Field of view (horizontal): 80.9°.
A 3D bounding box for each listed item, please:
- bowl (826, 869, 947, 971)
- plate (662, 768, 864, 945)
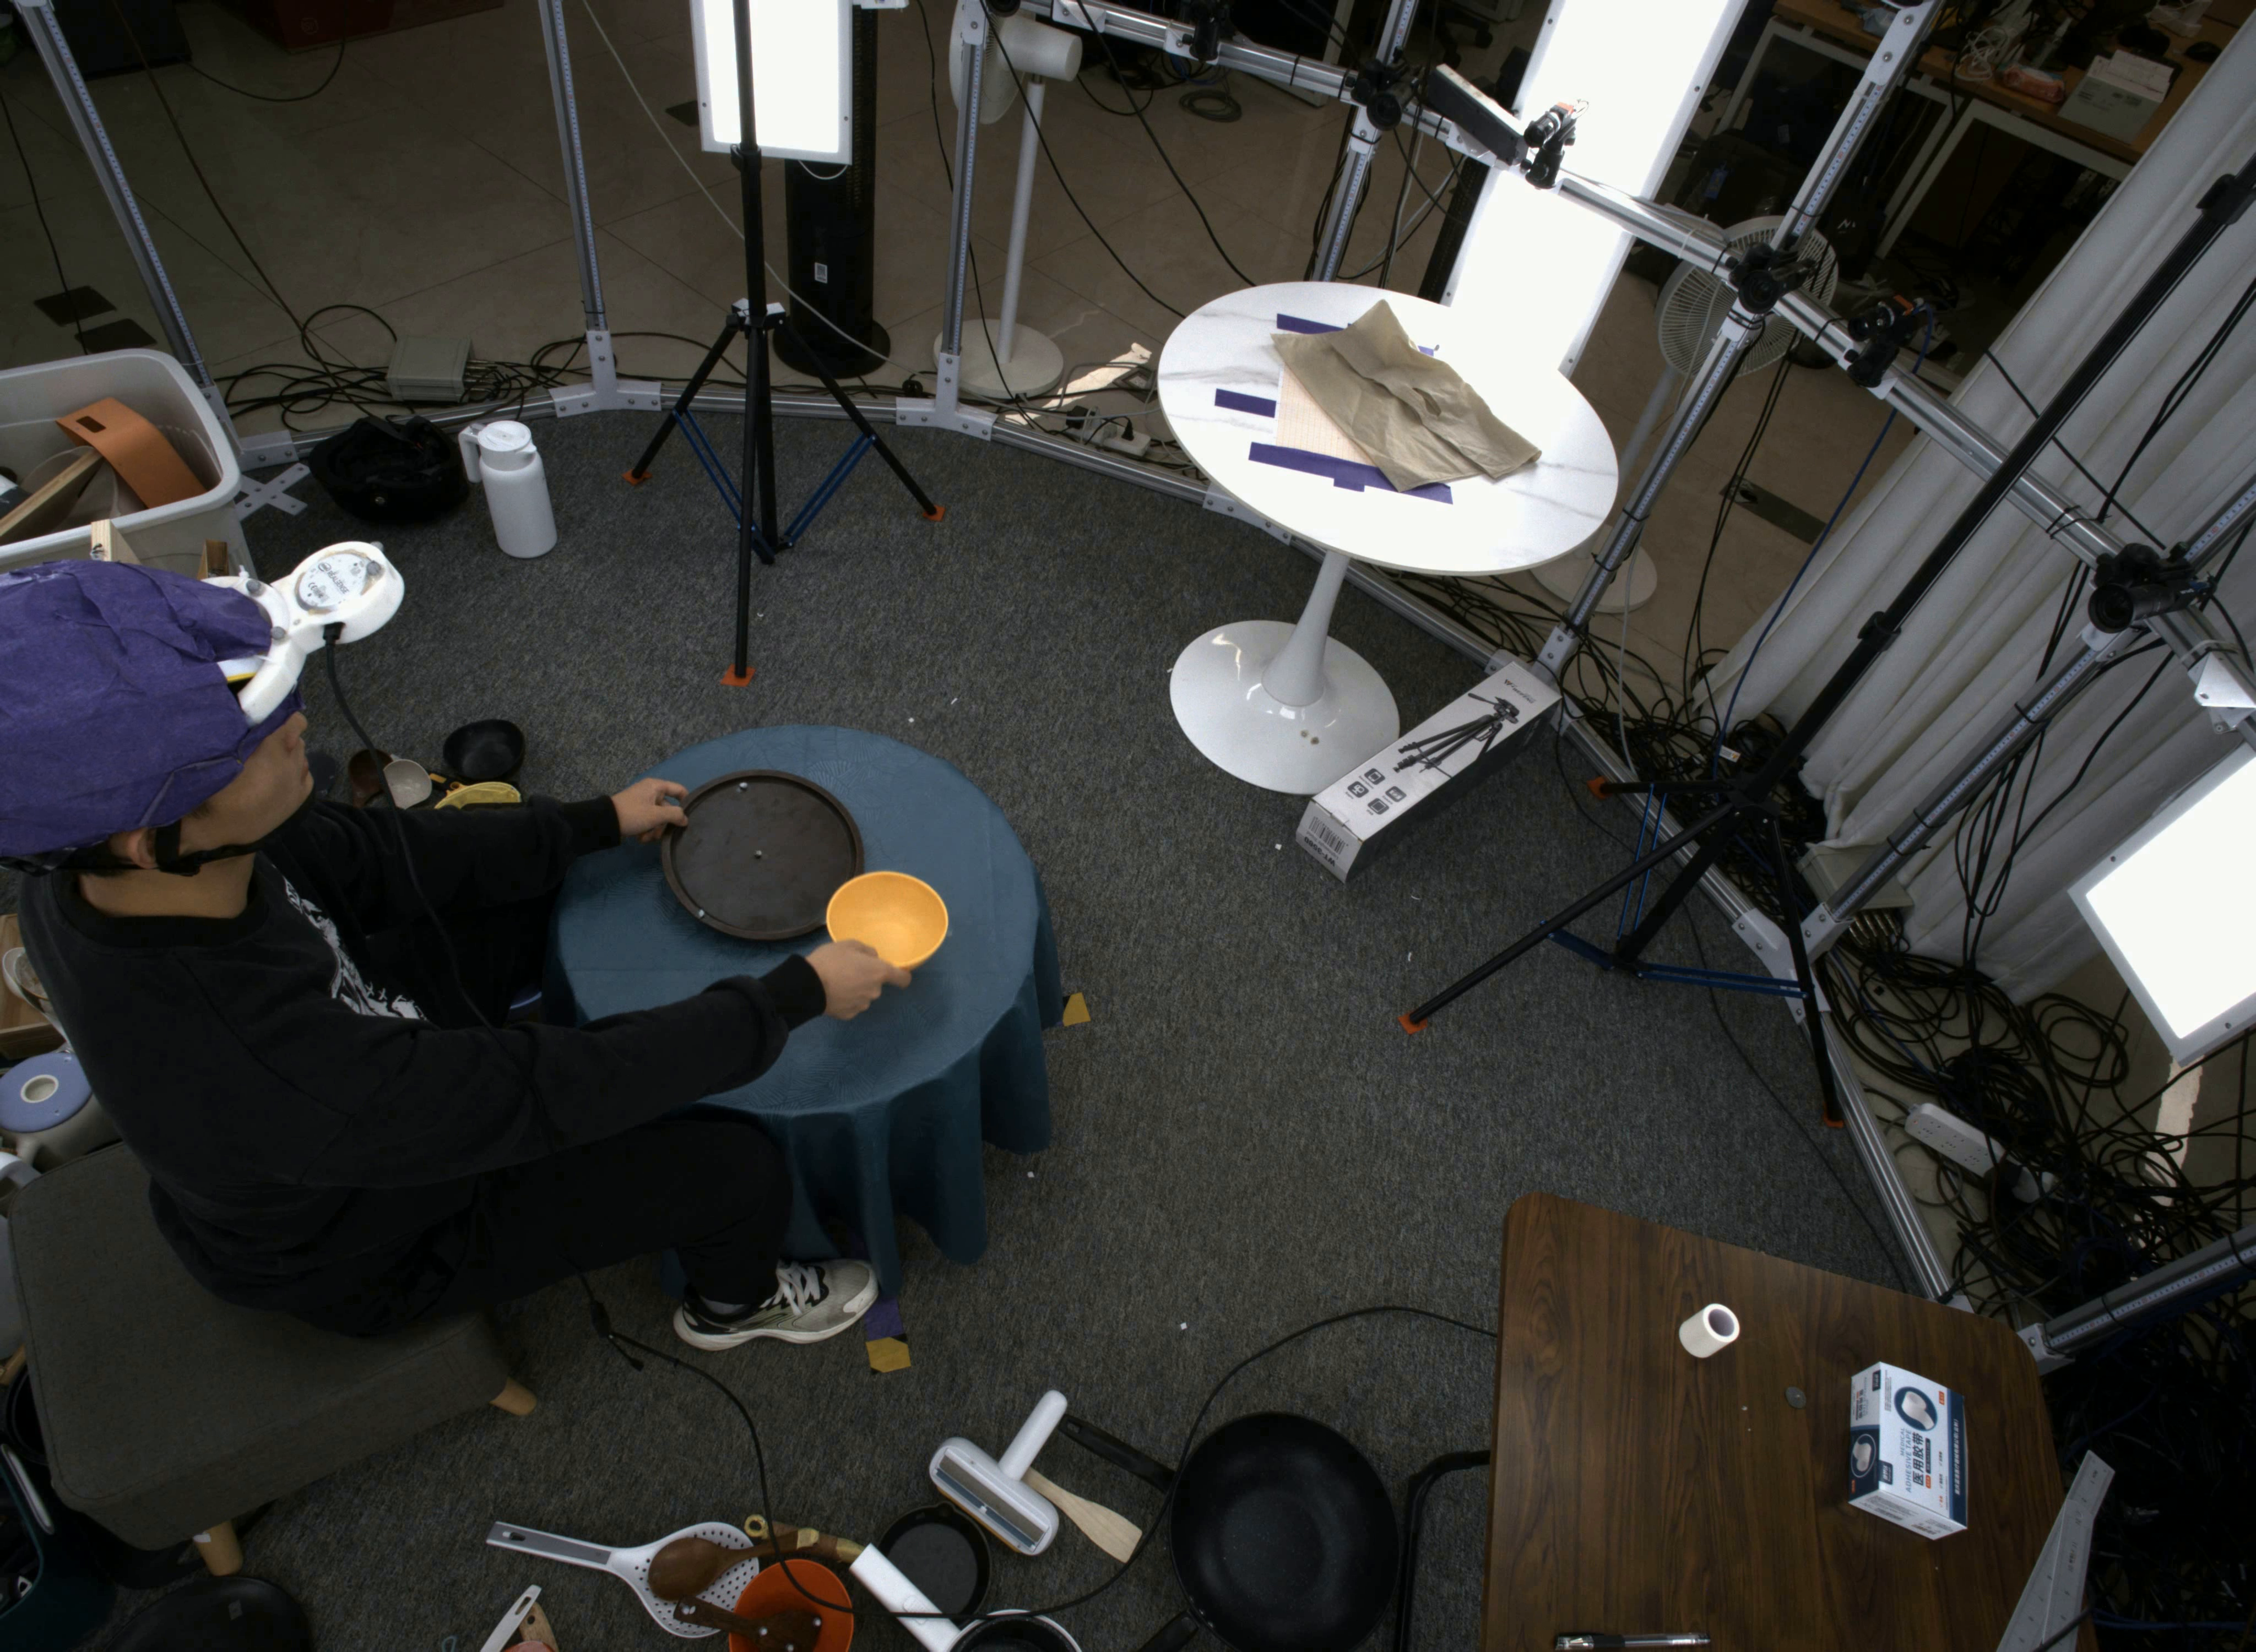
[{"bbox_3d":[-0.292,0.123,1.576,0.145,0.061,0.142,7,47,-7],"label":"bowl"},{"bbox_3d":[-0.465,0.036,1.655,0.256,0.029,0.251,11,59,-16],"label":"plate"}]
